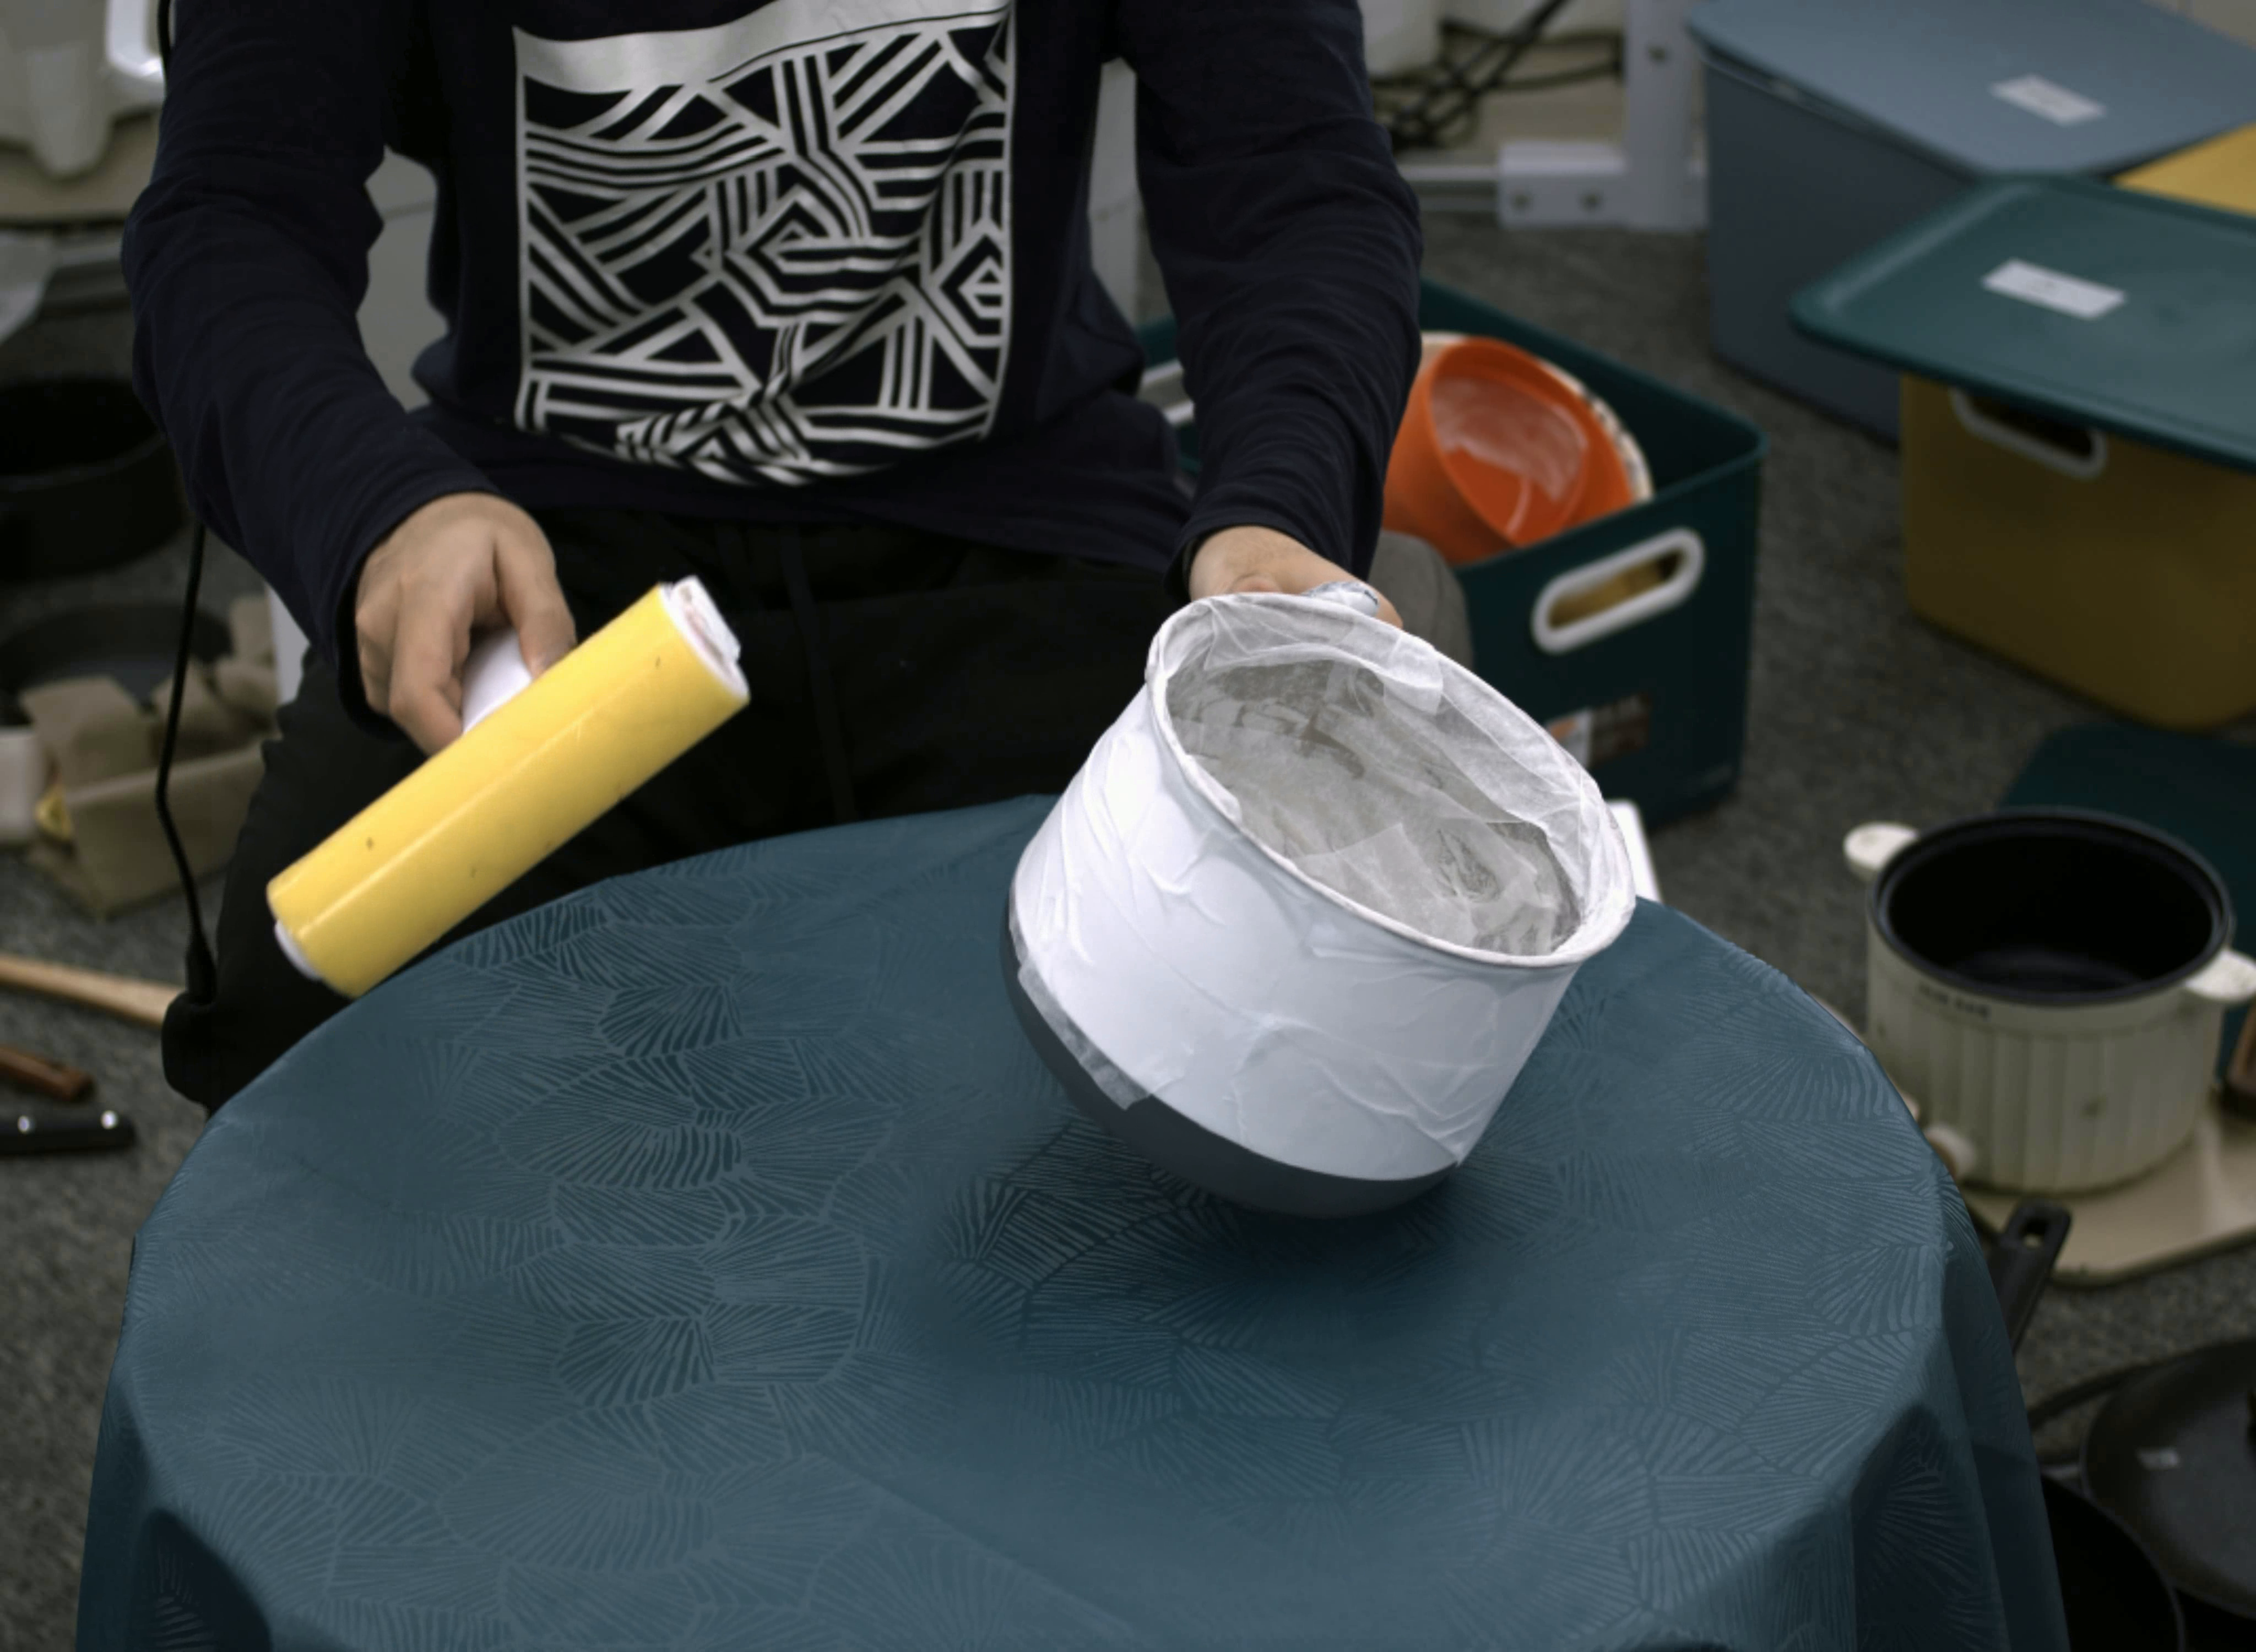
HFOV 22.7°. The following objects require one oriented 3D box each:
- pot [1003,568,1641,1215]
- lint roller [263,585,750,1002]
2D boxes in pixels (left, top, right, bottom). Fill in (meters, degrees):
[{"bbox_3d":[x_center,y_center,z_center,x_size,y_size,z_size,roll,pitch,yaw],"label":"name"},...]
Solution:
[{"bbox_3d":[0.055,0.009,1.845,0.178,0.134,0.238,21,33,-21],"label":"pot"},{"bbox_3d":[-0.216,-0.041,1.853,0.173,0.051,0.194,-37,32,5],"label":"lint roller"}]
